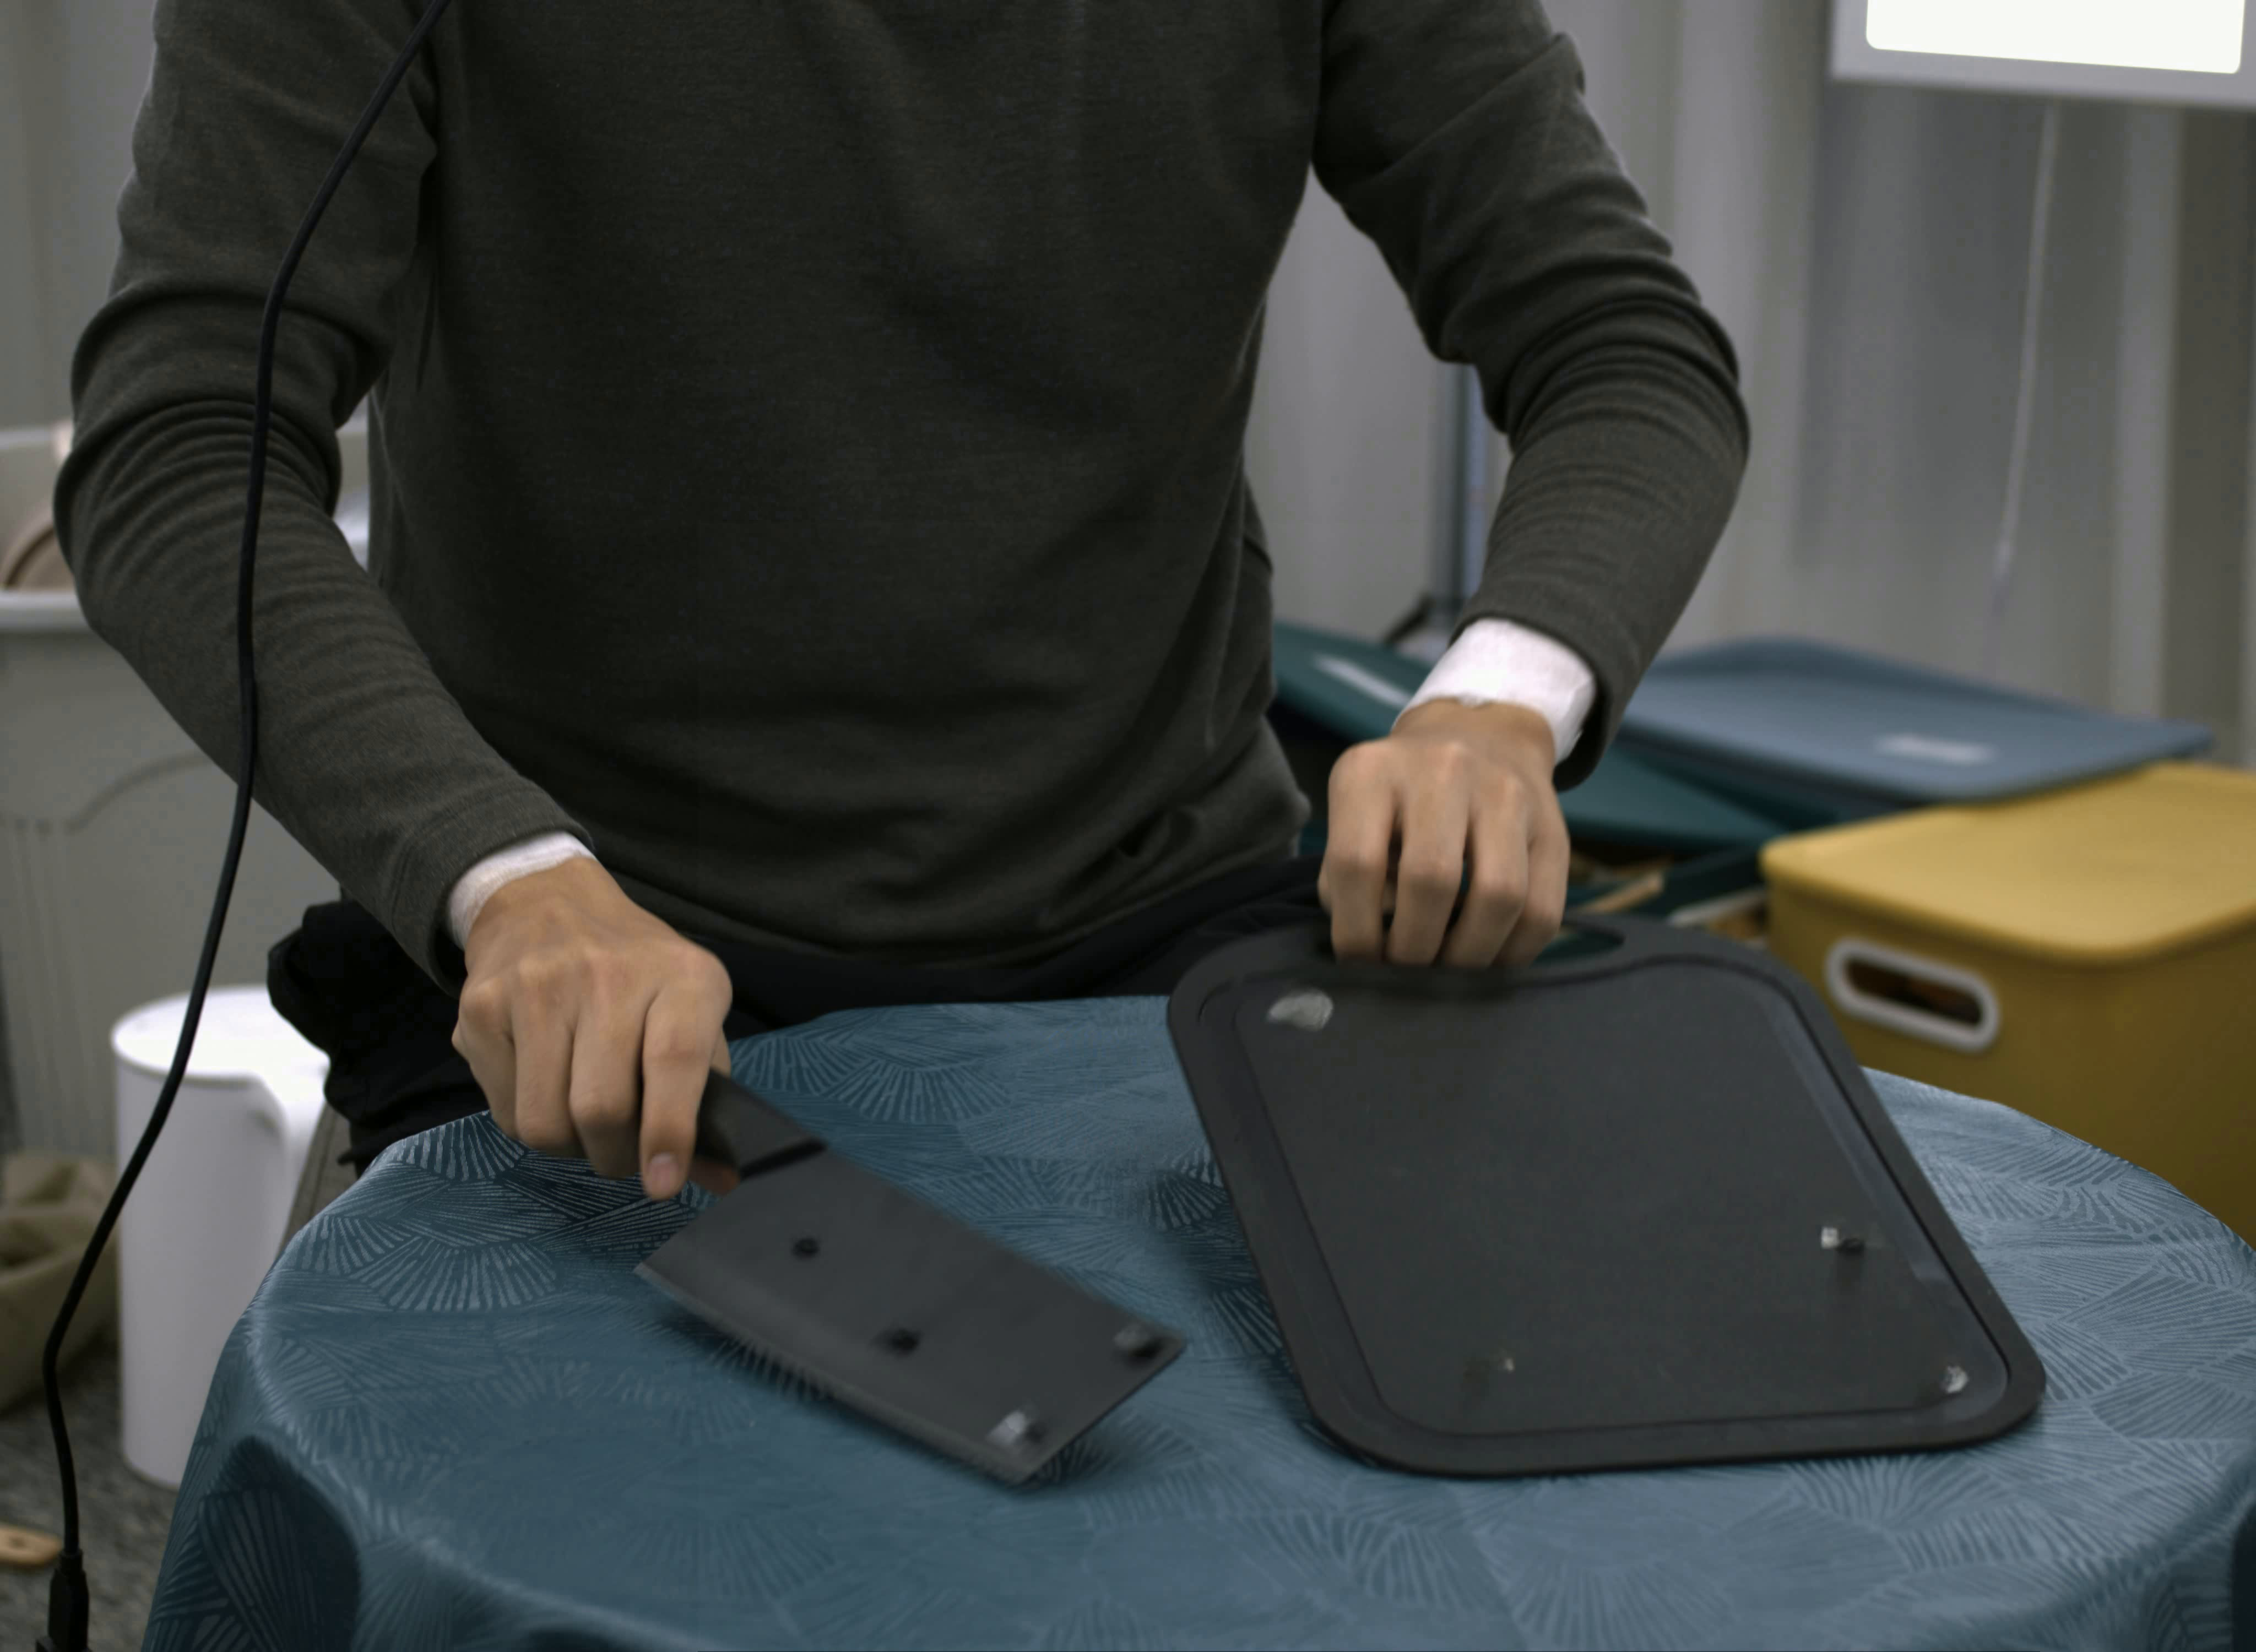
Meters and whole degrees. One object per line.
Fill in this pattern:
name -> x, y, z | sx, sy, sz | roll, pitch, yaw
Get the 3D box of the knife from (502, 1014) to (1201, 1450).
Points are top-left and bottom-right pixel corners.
knife -> -0.093, 0.111, 1.507 | 0.081, 0.021, 0.298 | -35, 35, -23

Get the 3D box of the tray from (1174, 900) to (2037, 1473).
tray -> 0.131, 0.097, 1.556 | 0.211, 0.010, 0.322 | -1, 27, -9
